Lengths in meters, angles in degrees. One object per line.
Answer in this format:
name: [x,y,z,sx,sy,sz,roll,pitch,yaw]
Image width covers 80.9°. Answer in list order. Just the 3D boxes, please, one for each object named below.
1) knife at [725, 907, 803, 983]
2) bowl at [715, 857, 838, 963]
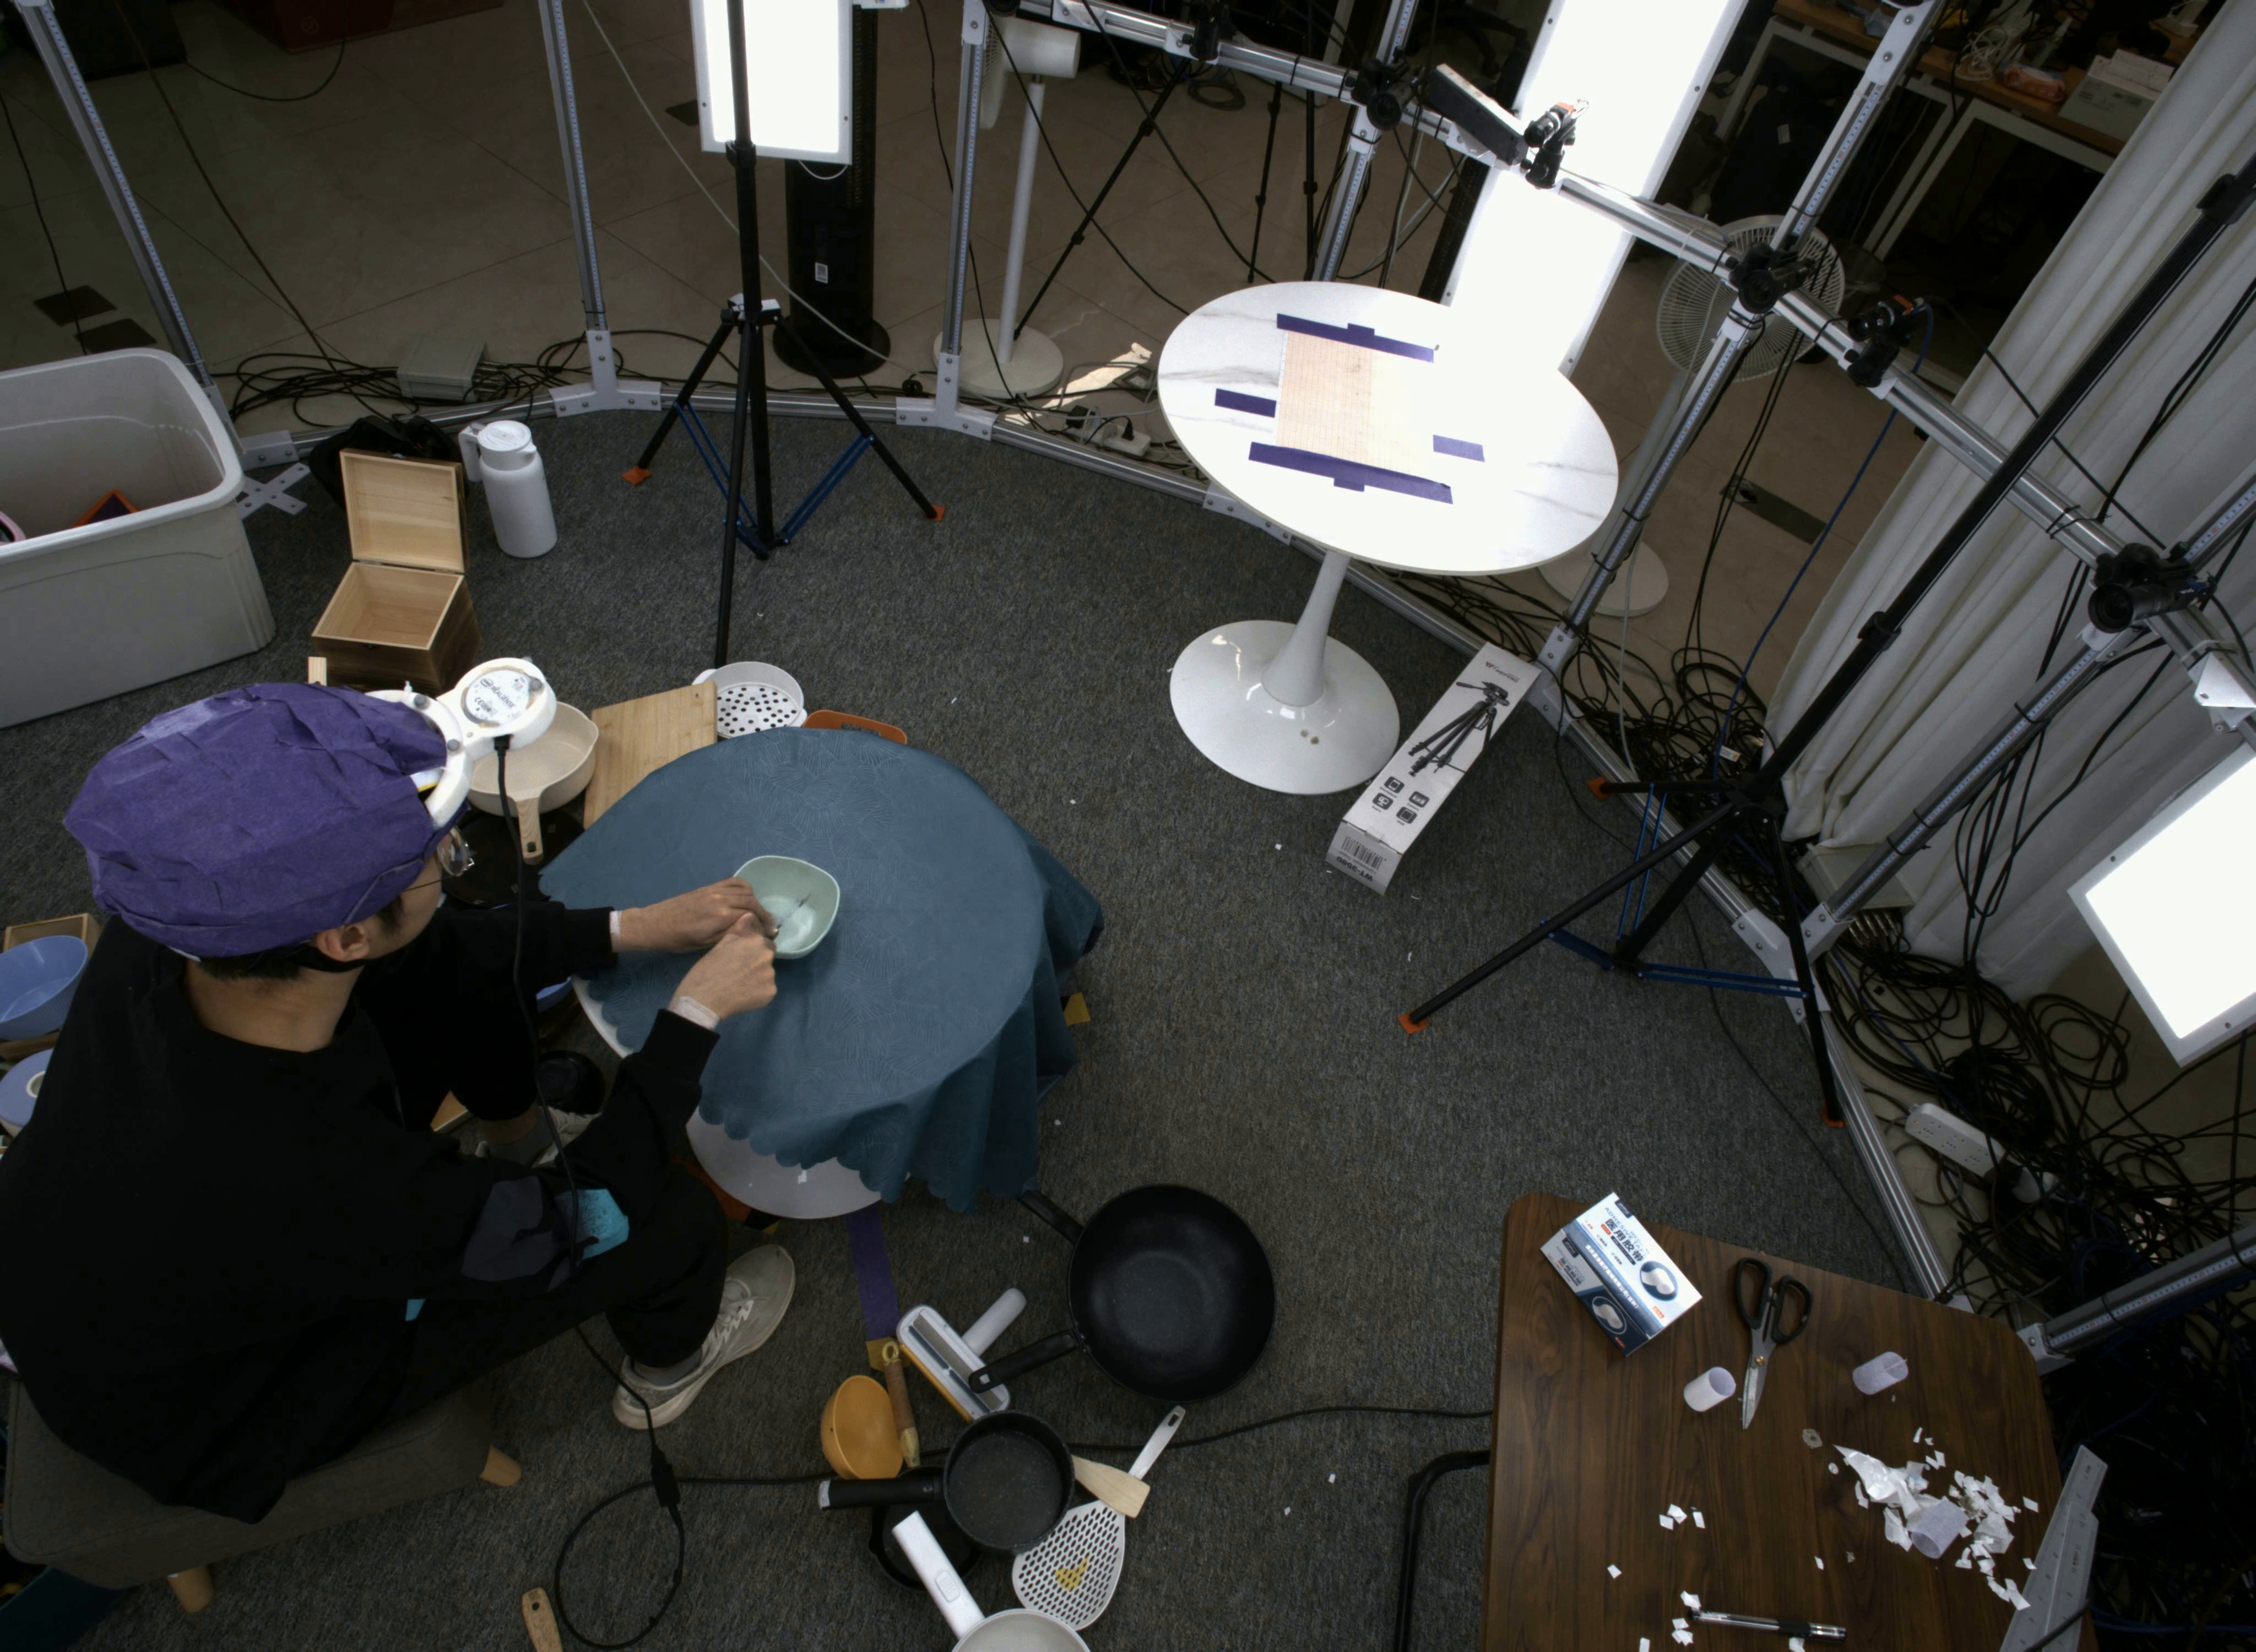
knife: [-0.415,0.128,1.497,0.017,0.026,0.223,40,18,-5]
bowl: [-0.431,0.112,1.593,0.151,0.060,0.149,9,52,-10]
